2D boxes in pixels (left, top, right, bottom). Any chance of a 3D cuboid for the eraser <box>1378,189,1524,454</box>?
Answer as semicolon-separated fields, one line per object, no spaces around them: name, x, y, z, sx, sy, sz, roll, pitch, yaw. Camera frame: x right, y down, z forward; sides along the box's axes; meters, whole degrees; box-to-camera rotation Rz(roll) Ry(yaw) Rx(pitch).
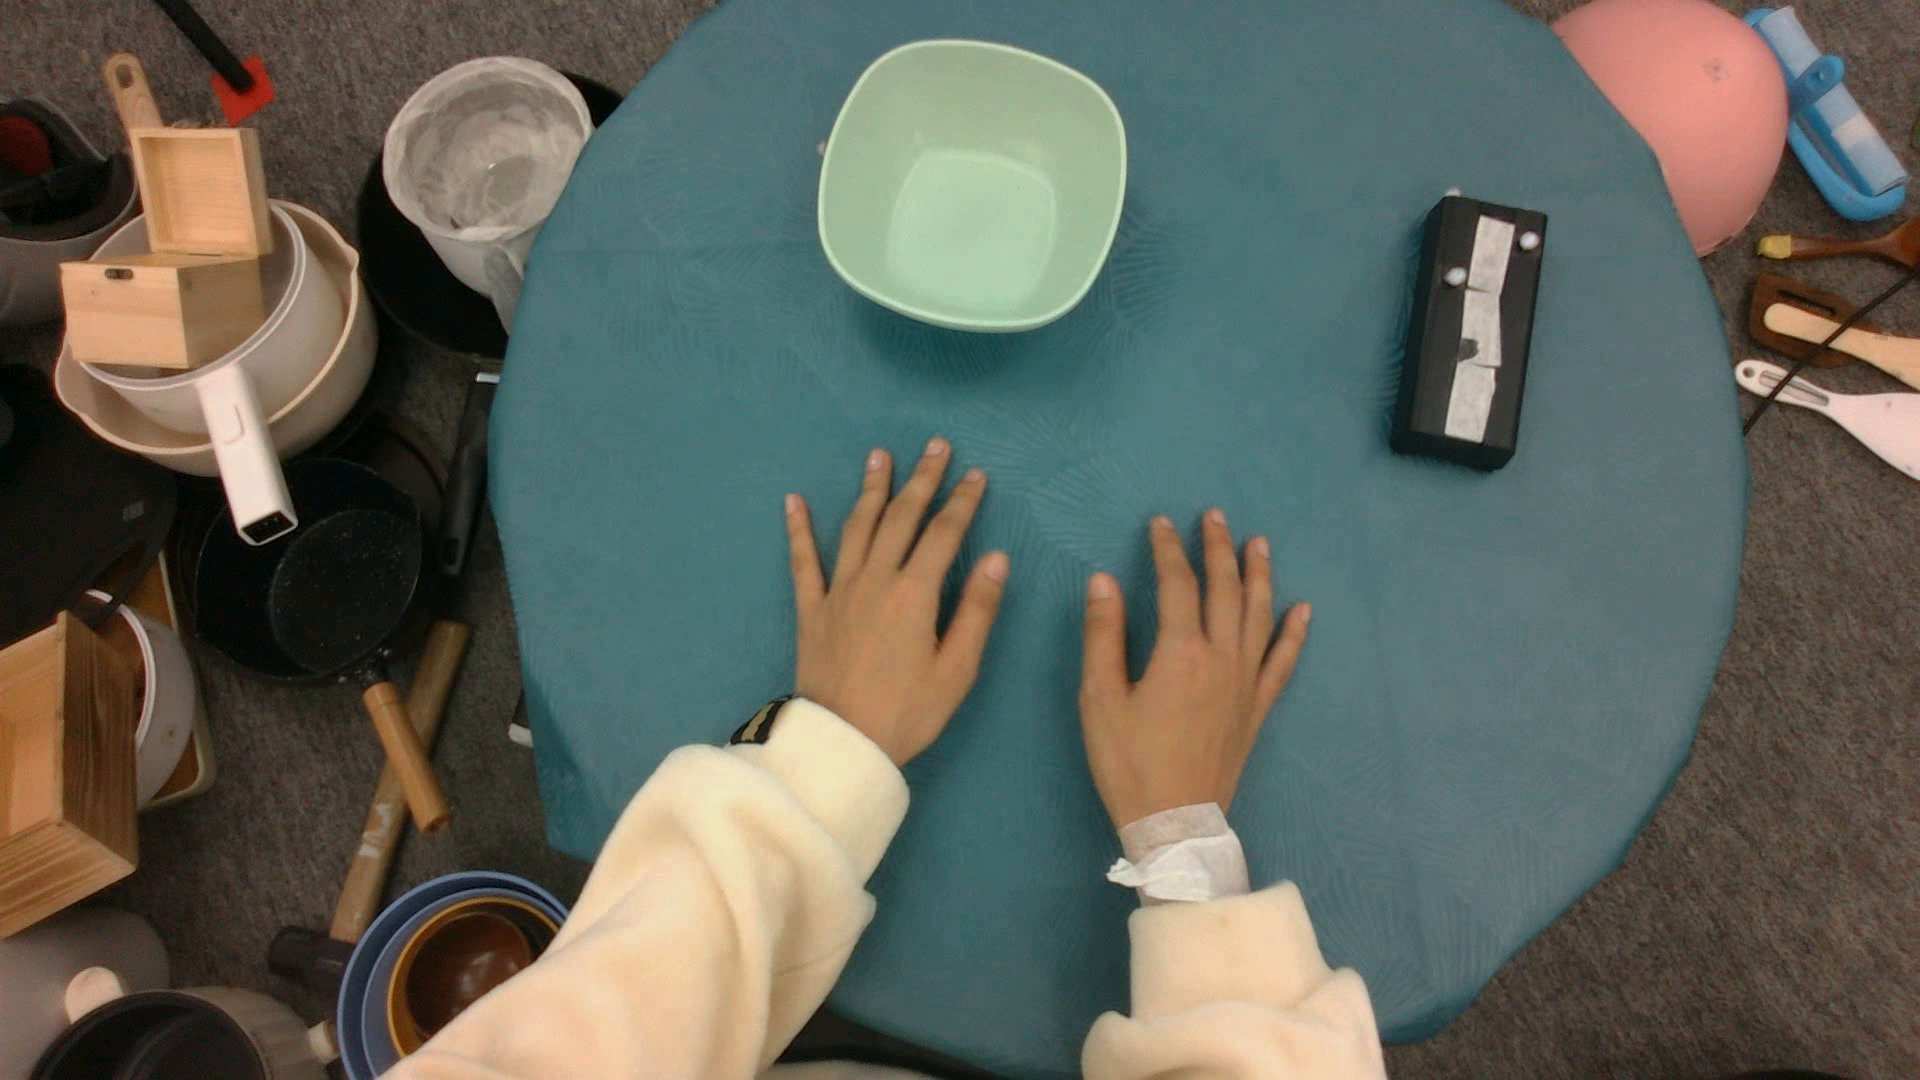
eraser;0.236;-0.106;0.663;0.053;0.030;0.126;10;79;3

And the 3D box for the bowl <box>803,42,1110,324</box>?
bowl;-0.001;-0.161;0.659;0.151;0.058;0.152;0;75;2
